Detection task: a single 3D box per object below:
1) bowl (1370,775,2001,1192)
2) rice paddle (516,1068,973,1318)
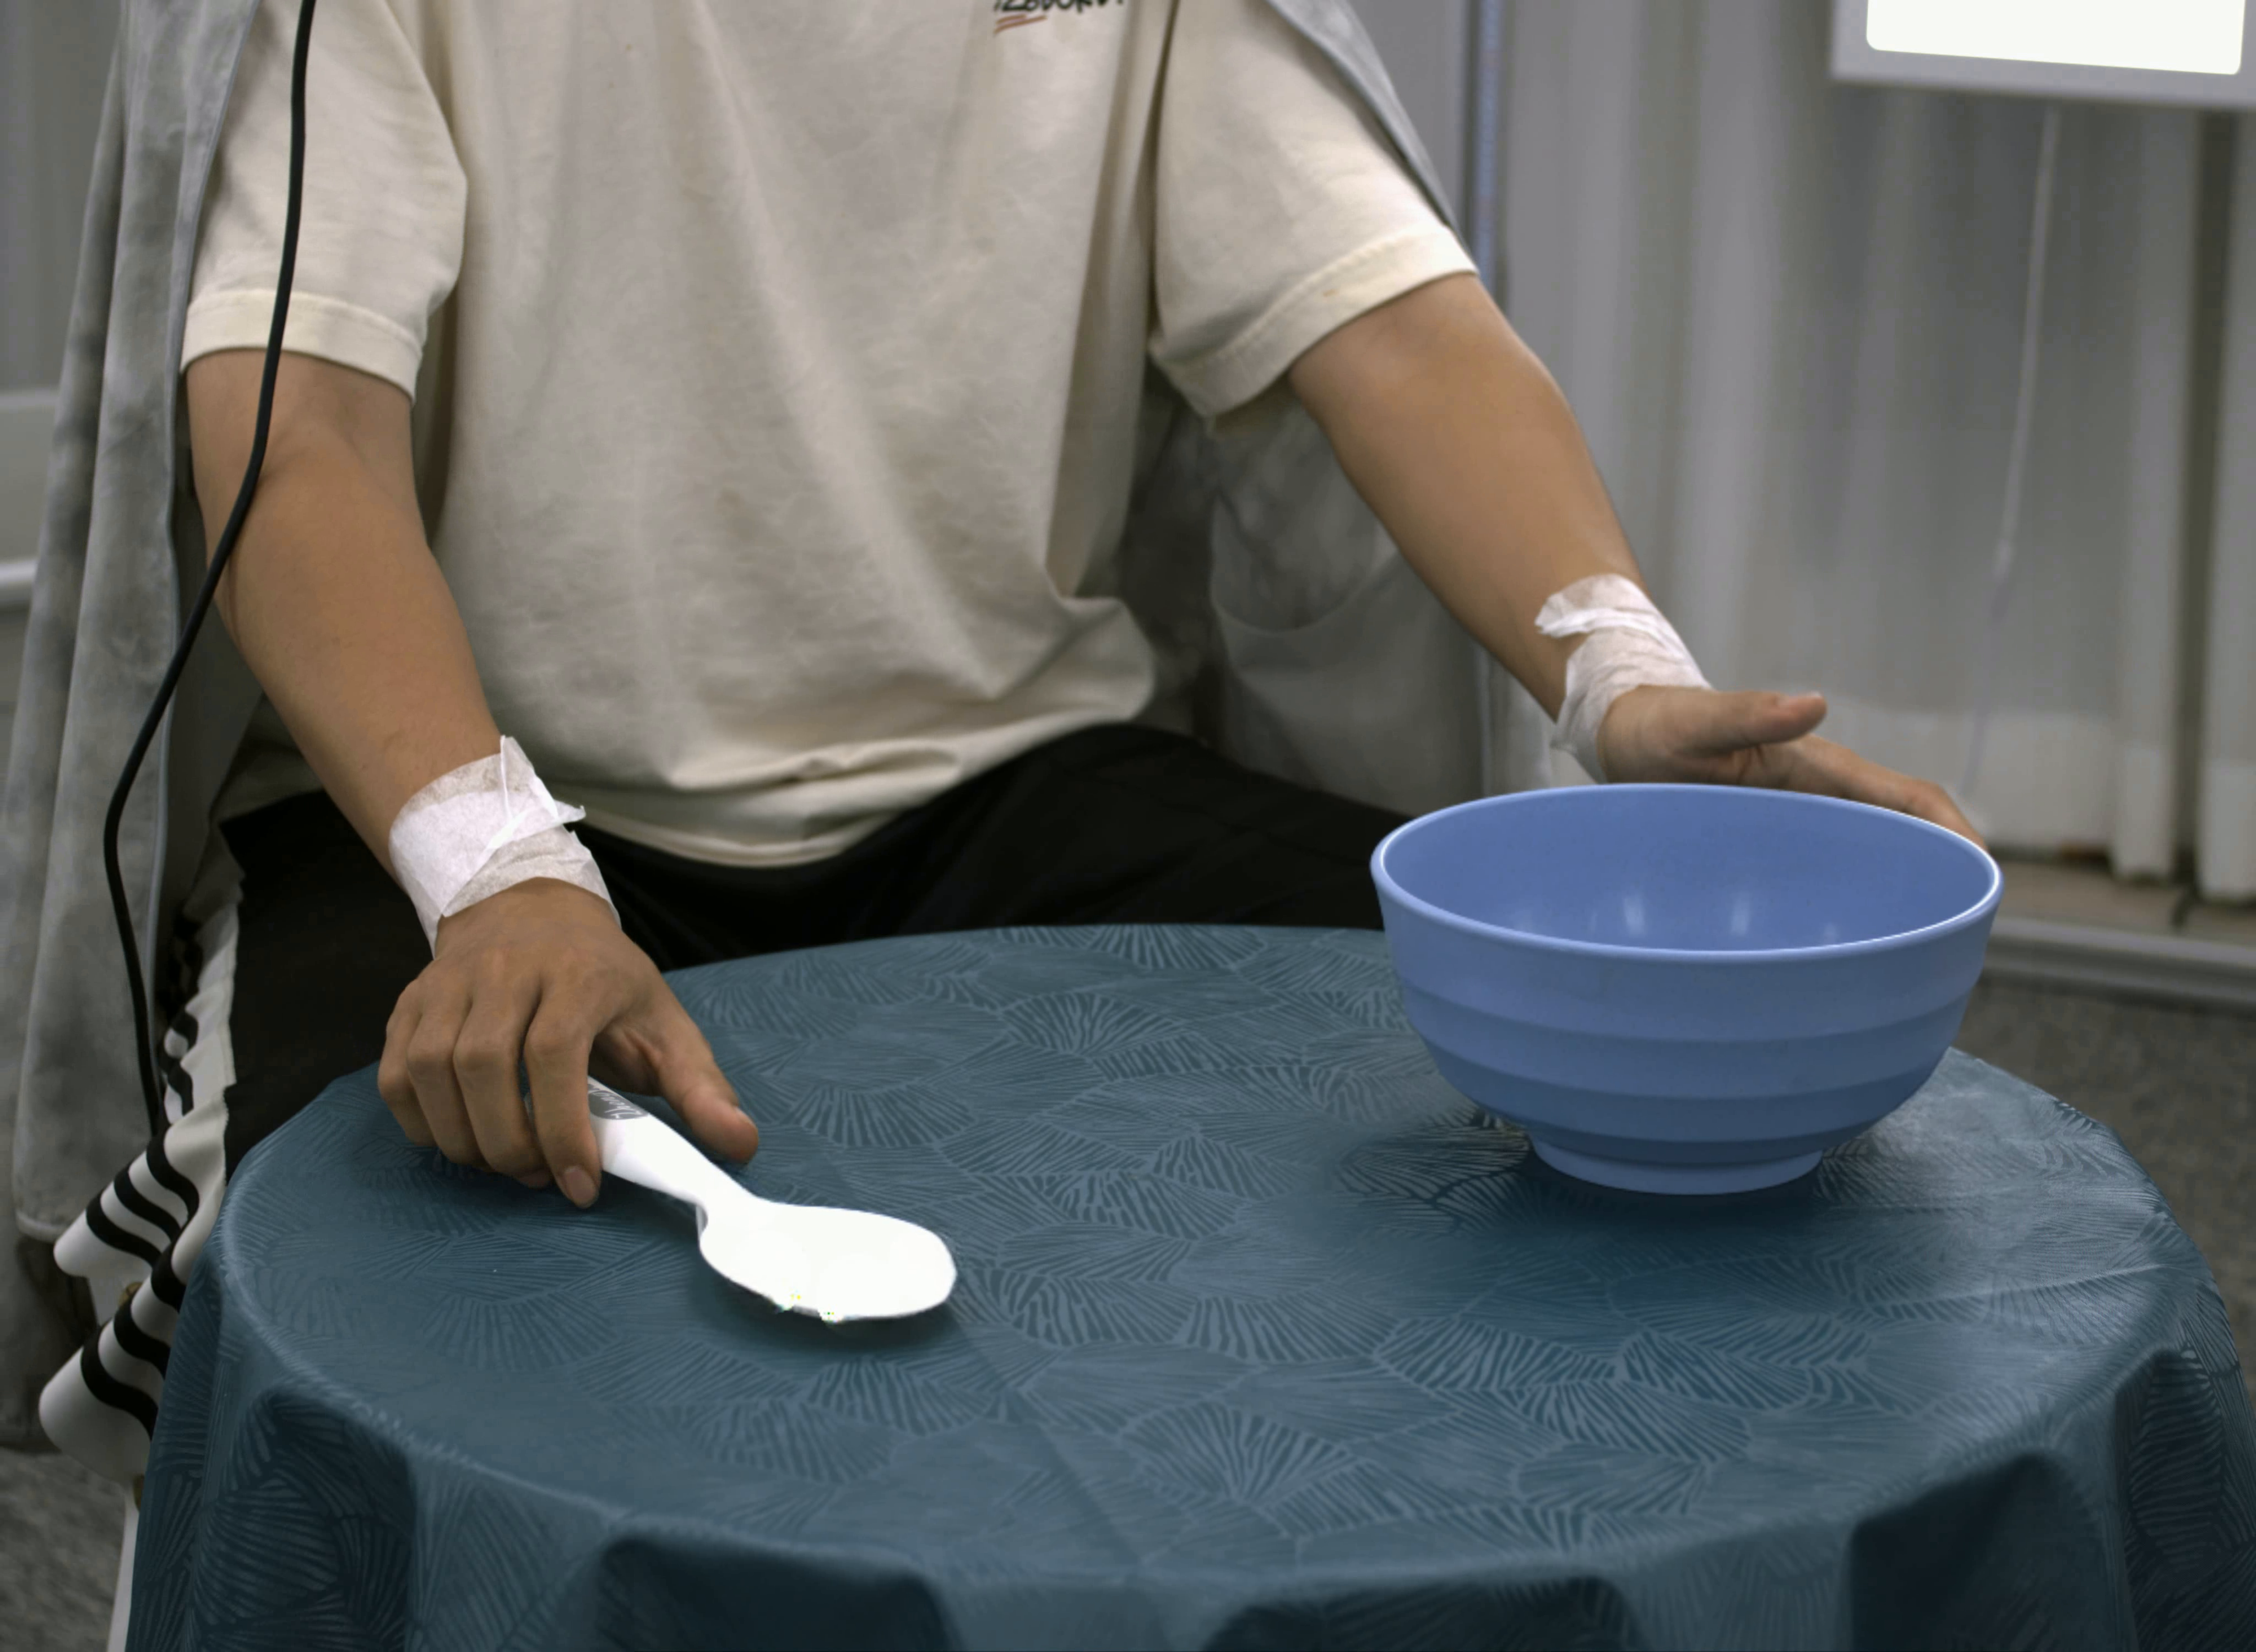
[{"bbox_3d":[0.173,0.055,1.656,0.196,0.096,0.195,0,17,1],"label":"bowl"},{"bbox_3d":[-0.117,0.111,1.568,0.069,0.029,0.202,-13,20,-35],"label":"rice paddle"}]
